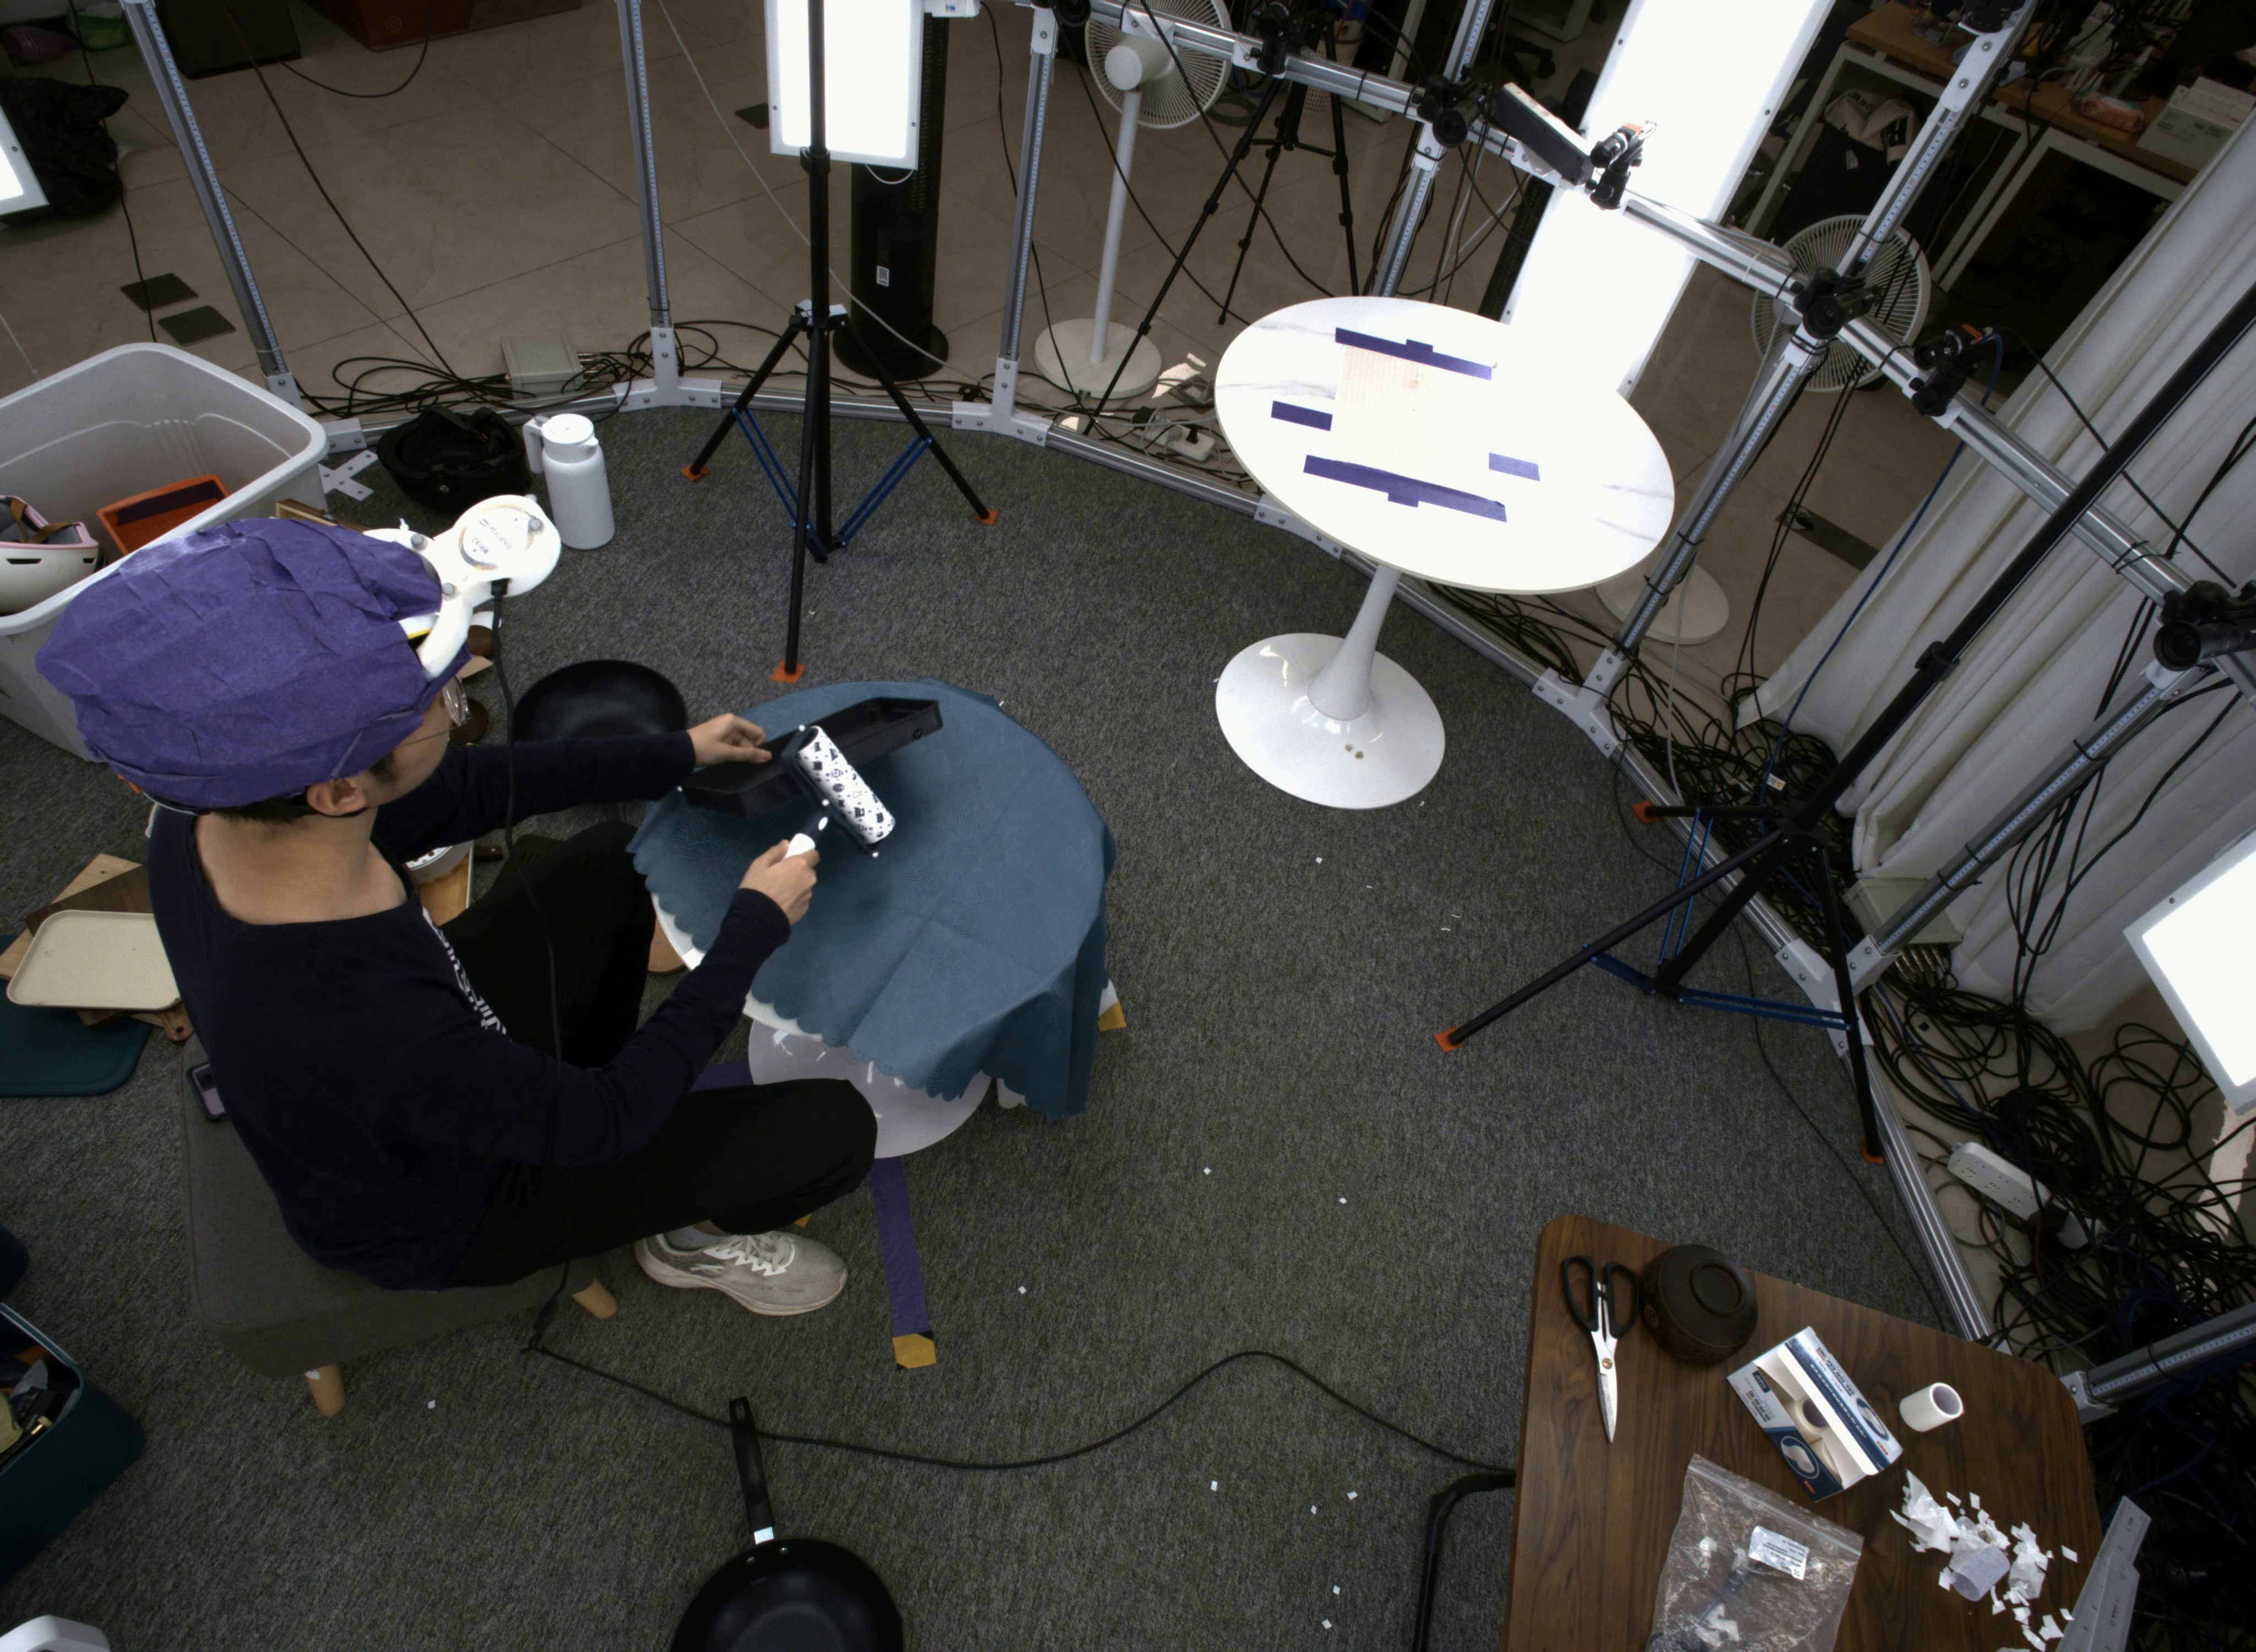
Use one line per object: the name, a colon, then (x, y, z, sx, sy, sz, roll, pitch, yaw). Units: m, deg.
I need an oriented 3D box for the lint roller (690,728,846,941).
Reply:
lint roller: (-0.440, 0.030, 1.521, 0.049, 0.183, 0.245, -4, 48, 33)

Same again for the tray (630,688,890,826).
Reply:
tray: (-0.471, -0.094, 1.663, 0.178, 0.038, 0.319, 5, 32, 46)
